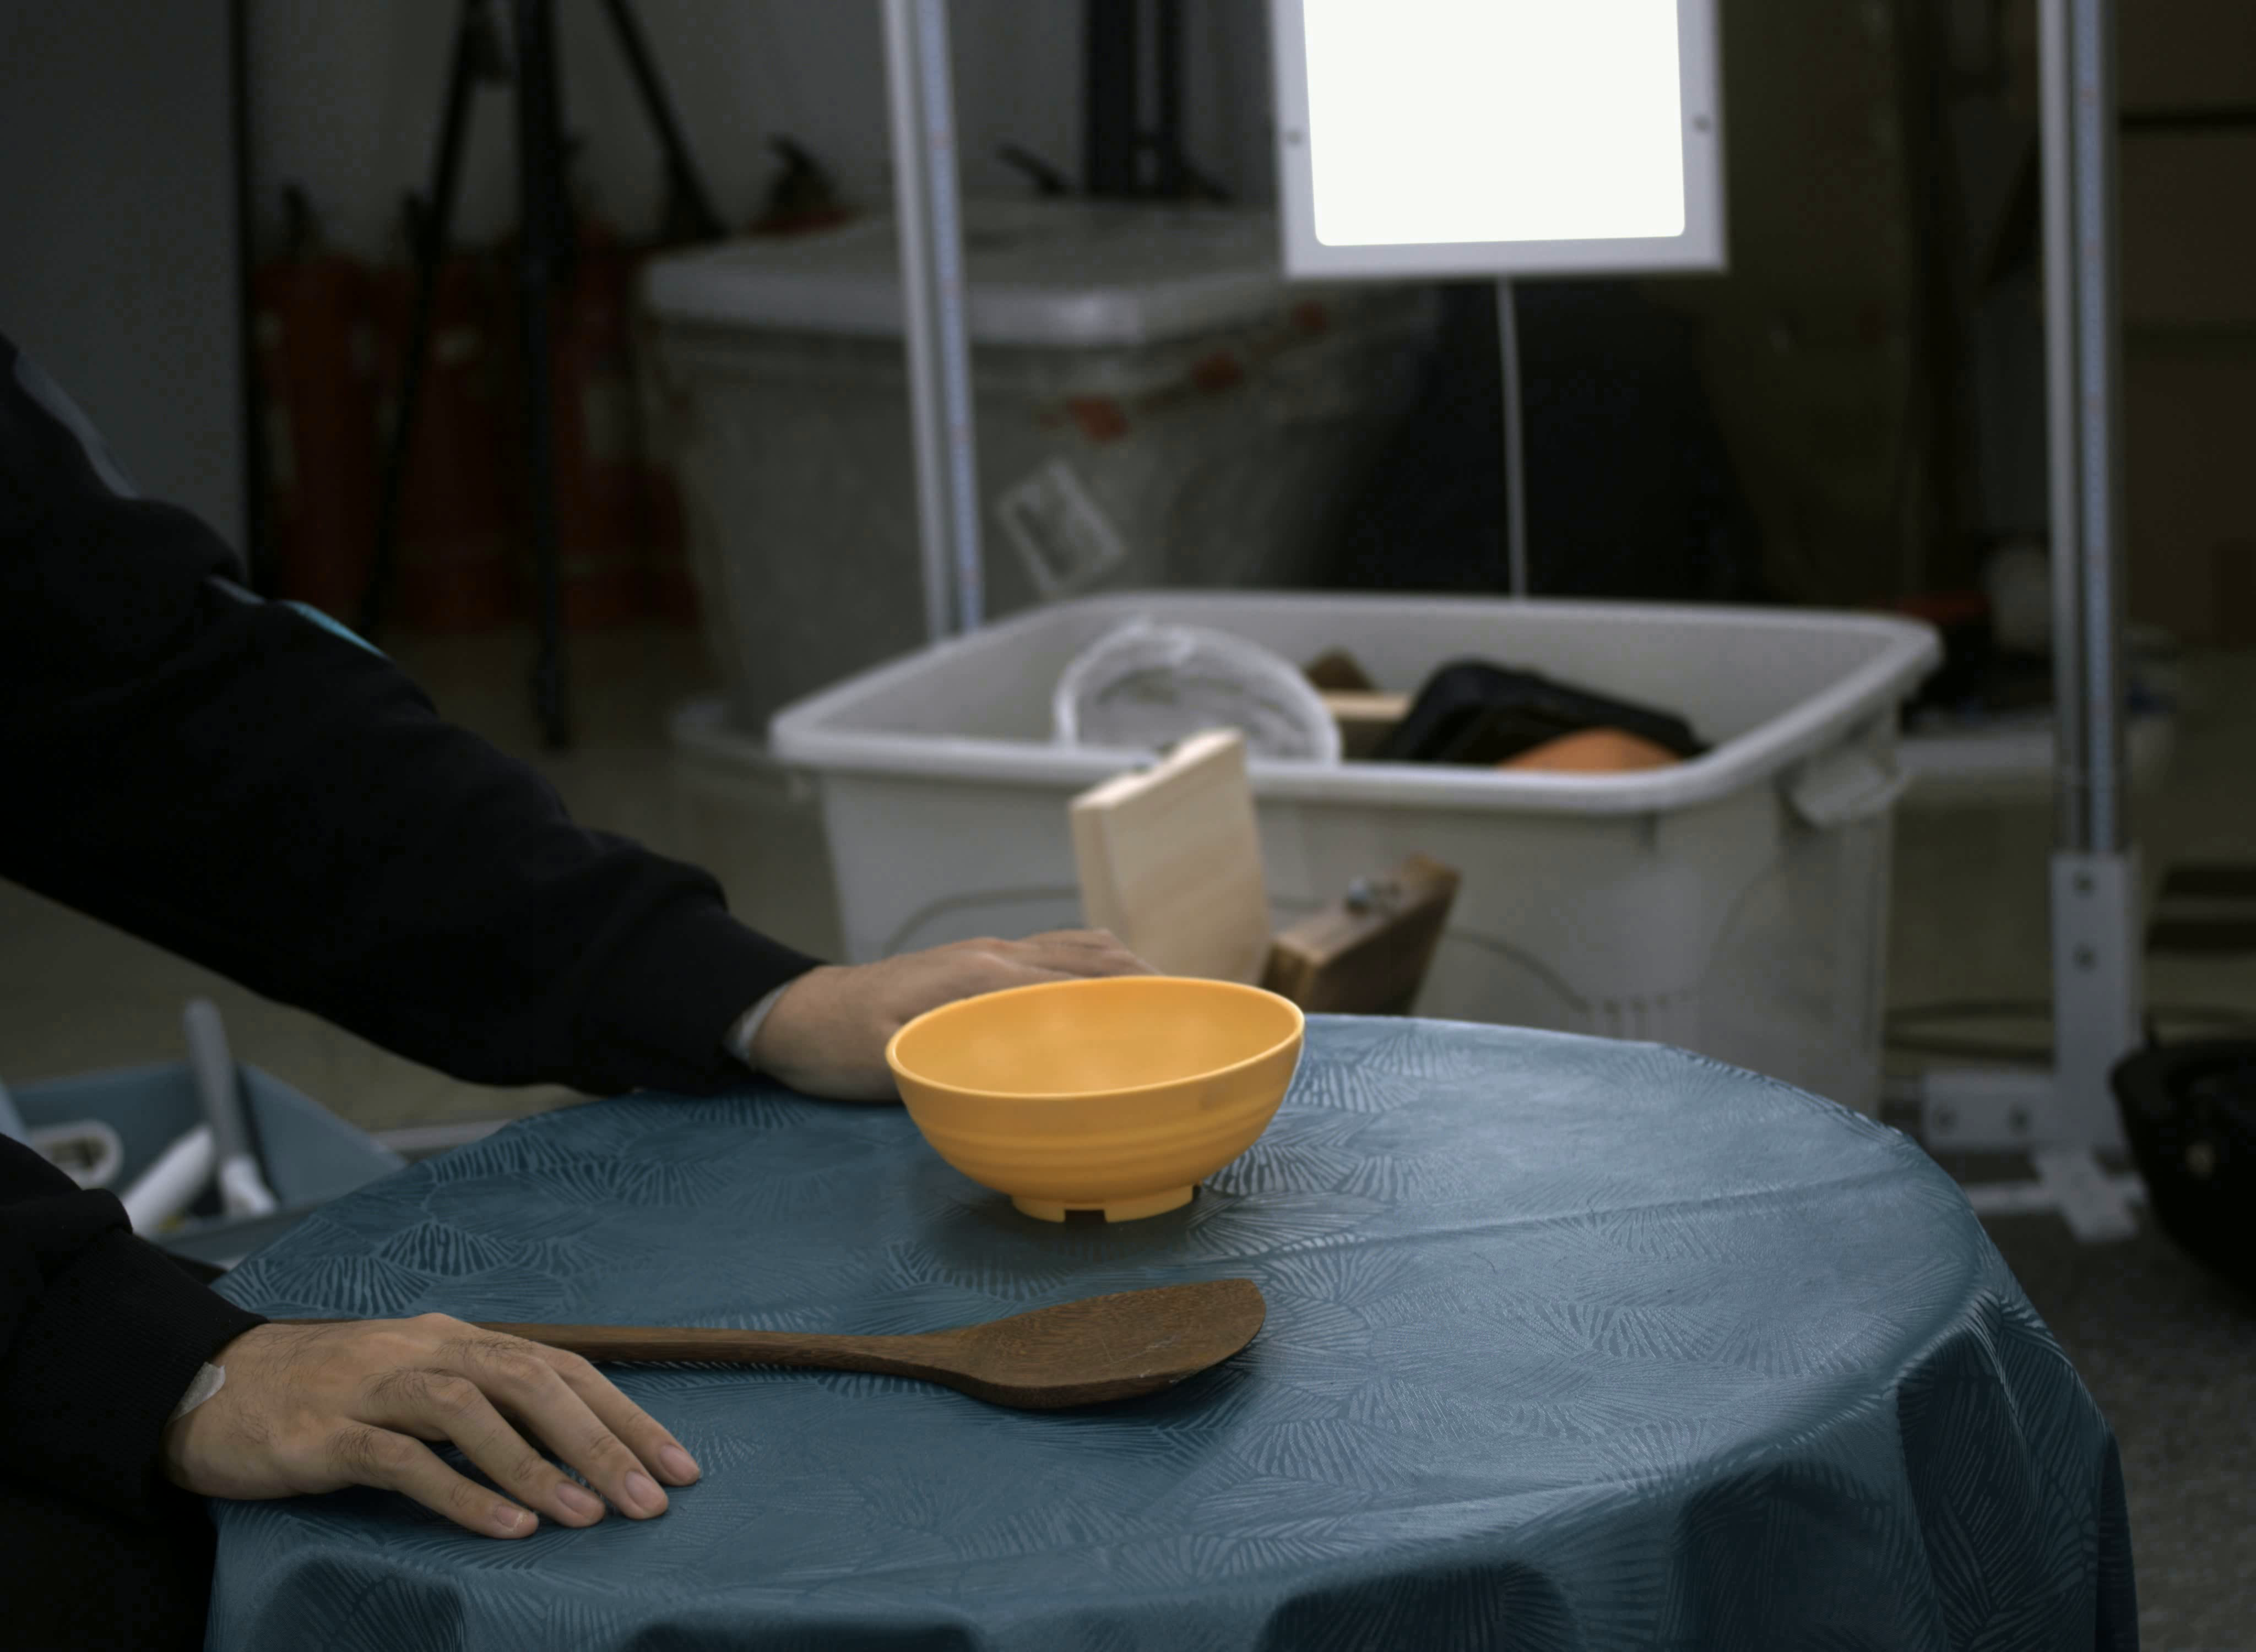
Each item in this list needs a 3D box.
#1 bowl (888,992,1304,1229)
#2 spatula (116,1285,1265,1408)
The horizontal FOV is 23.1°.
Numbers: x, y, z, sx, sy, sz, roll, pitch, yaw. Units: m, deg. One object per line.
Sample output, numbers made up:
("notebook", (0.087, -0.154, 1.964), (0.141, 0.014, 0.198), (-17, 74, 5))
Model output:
("bowl", (-0.009, 0.101, 1.890), (0.145, 0.060, 0.145), (-6, 11, 0))
("spatula", (-0.145, 0.166, 1.763), (0.390, 0.016, 0.095), (-1, 14, 17))
